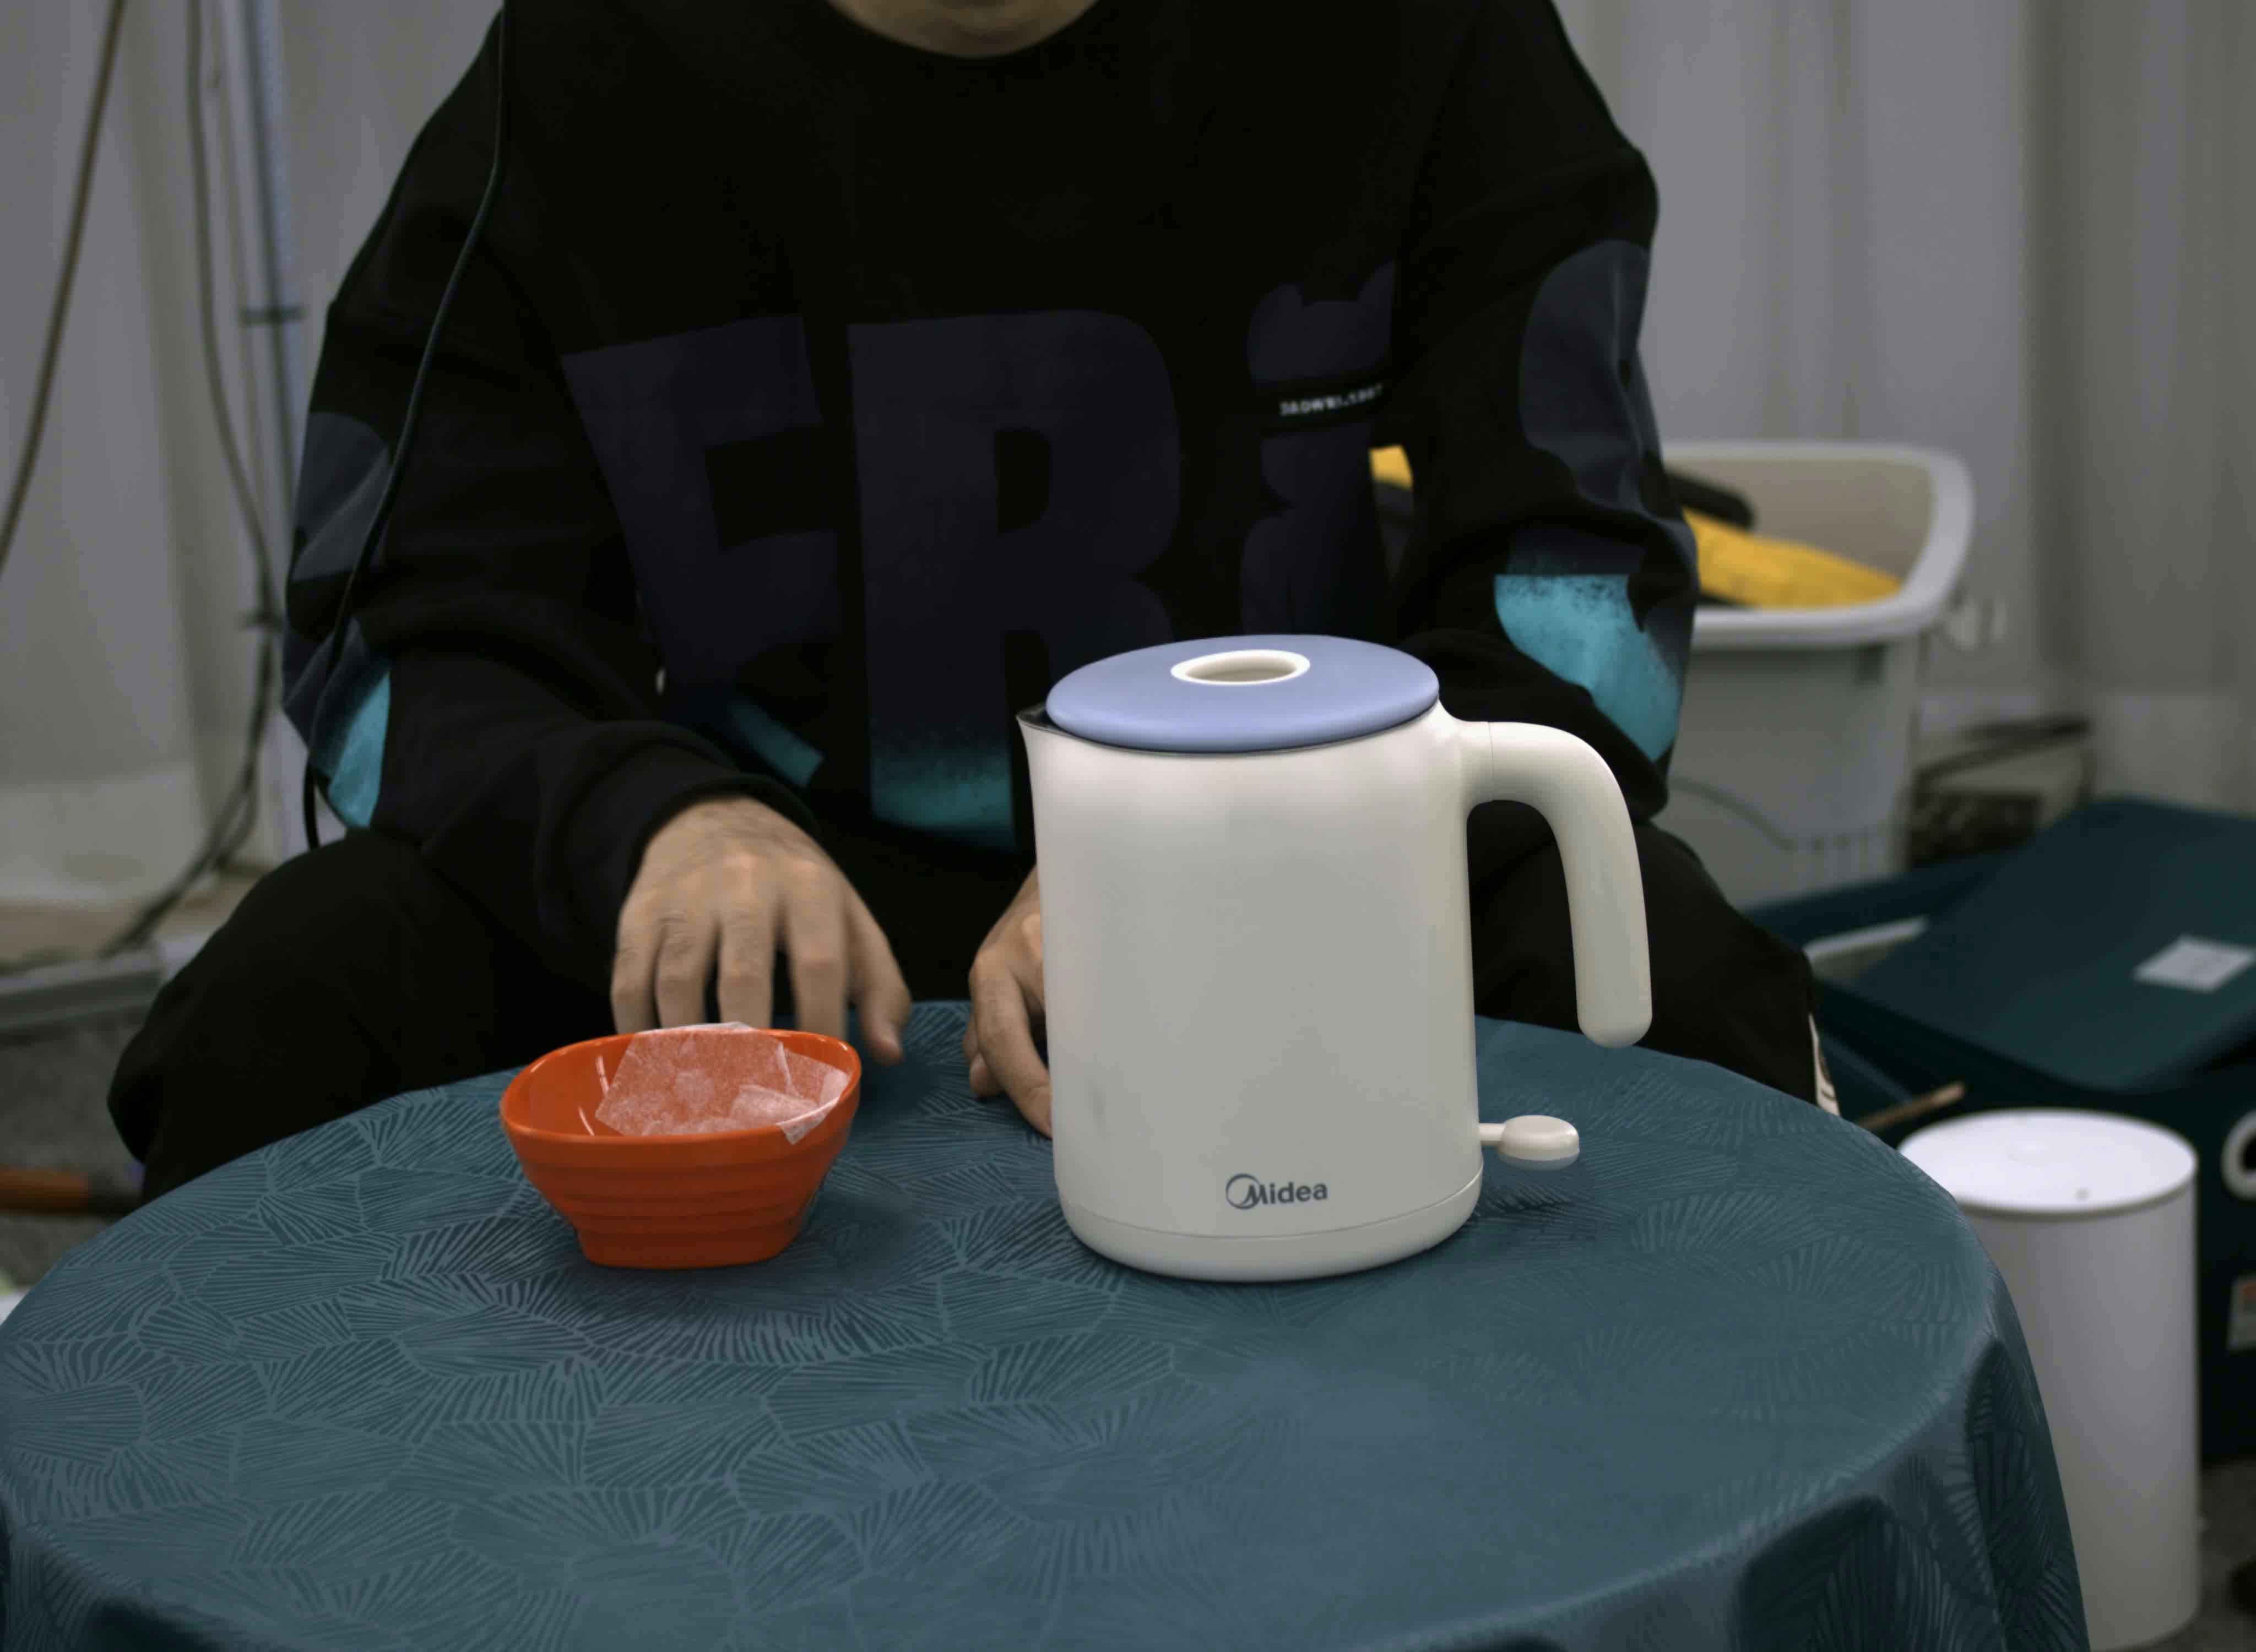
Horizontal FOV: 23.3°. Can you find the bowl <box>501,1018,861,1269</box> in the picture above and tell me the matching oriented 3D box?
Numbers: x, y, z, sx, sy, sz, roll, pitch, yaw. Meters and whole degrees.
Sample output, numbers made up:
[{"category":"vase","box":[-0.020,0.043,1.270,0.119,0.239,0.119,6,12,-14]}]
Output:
[{"category":"bowl","box":[-0.135,0.101,1.690,0.118,0.051,0.120,-5,17,1]}]

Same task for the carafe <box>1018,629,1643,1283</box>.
[{"category":"carafe","box":[0.063,0.038,1.663,0.190,0.182,0.133,-1,15,-3]}]
